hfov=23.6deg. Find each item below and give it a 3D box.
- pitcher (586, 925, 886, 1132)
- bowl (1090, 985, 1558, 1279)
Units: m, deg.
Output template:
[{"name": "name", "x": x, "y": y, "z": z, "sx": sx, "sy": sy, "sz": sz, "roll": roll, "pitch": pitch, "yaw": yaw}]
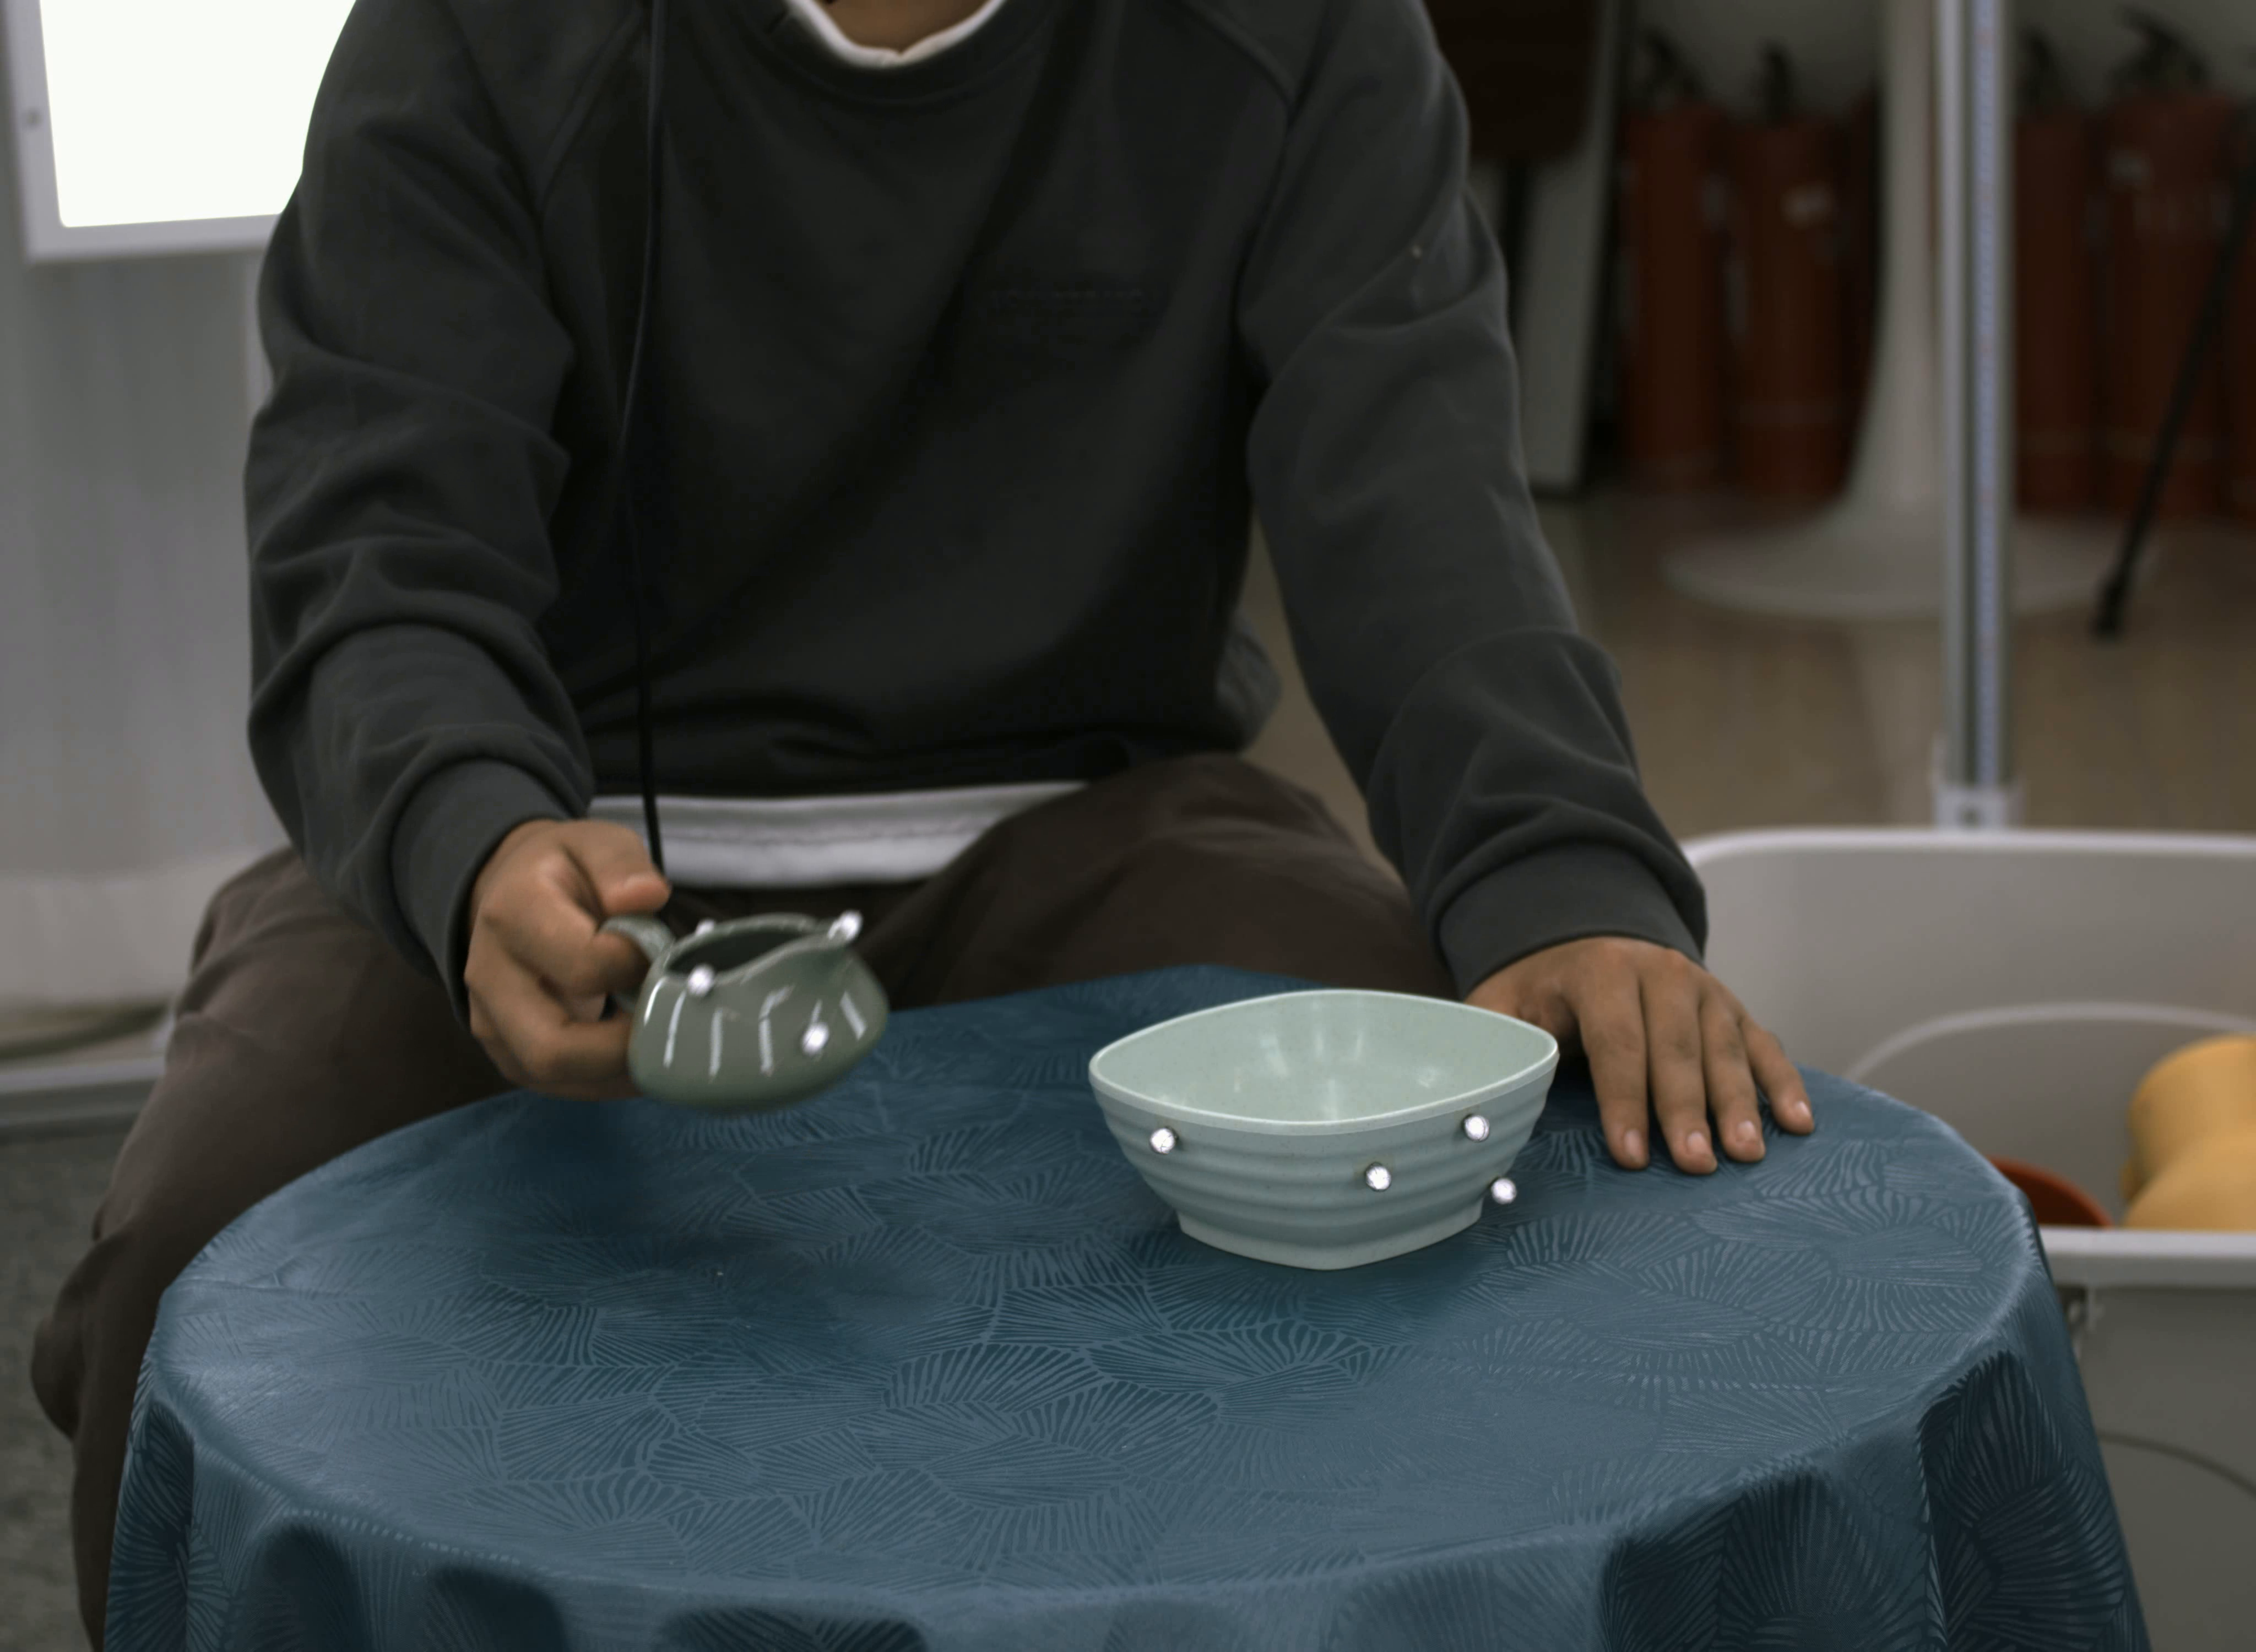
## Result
[{"name": "pitcher", "x": -0.124, "y": 0.060, "z": 1.703, "sx": 0.113, "sy": 0.056, "sz": 0.083, "roll": 1, "pitch": 21, "yaw": 41}, {"name": "bowl", "x": 0.064, "y": 0.101, "z": 1.724, "sx": 0.149, "sy": 0.059, "sz": 0.152, "roll": -3, "pitch": 15, "yaw": 0}]
